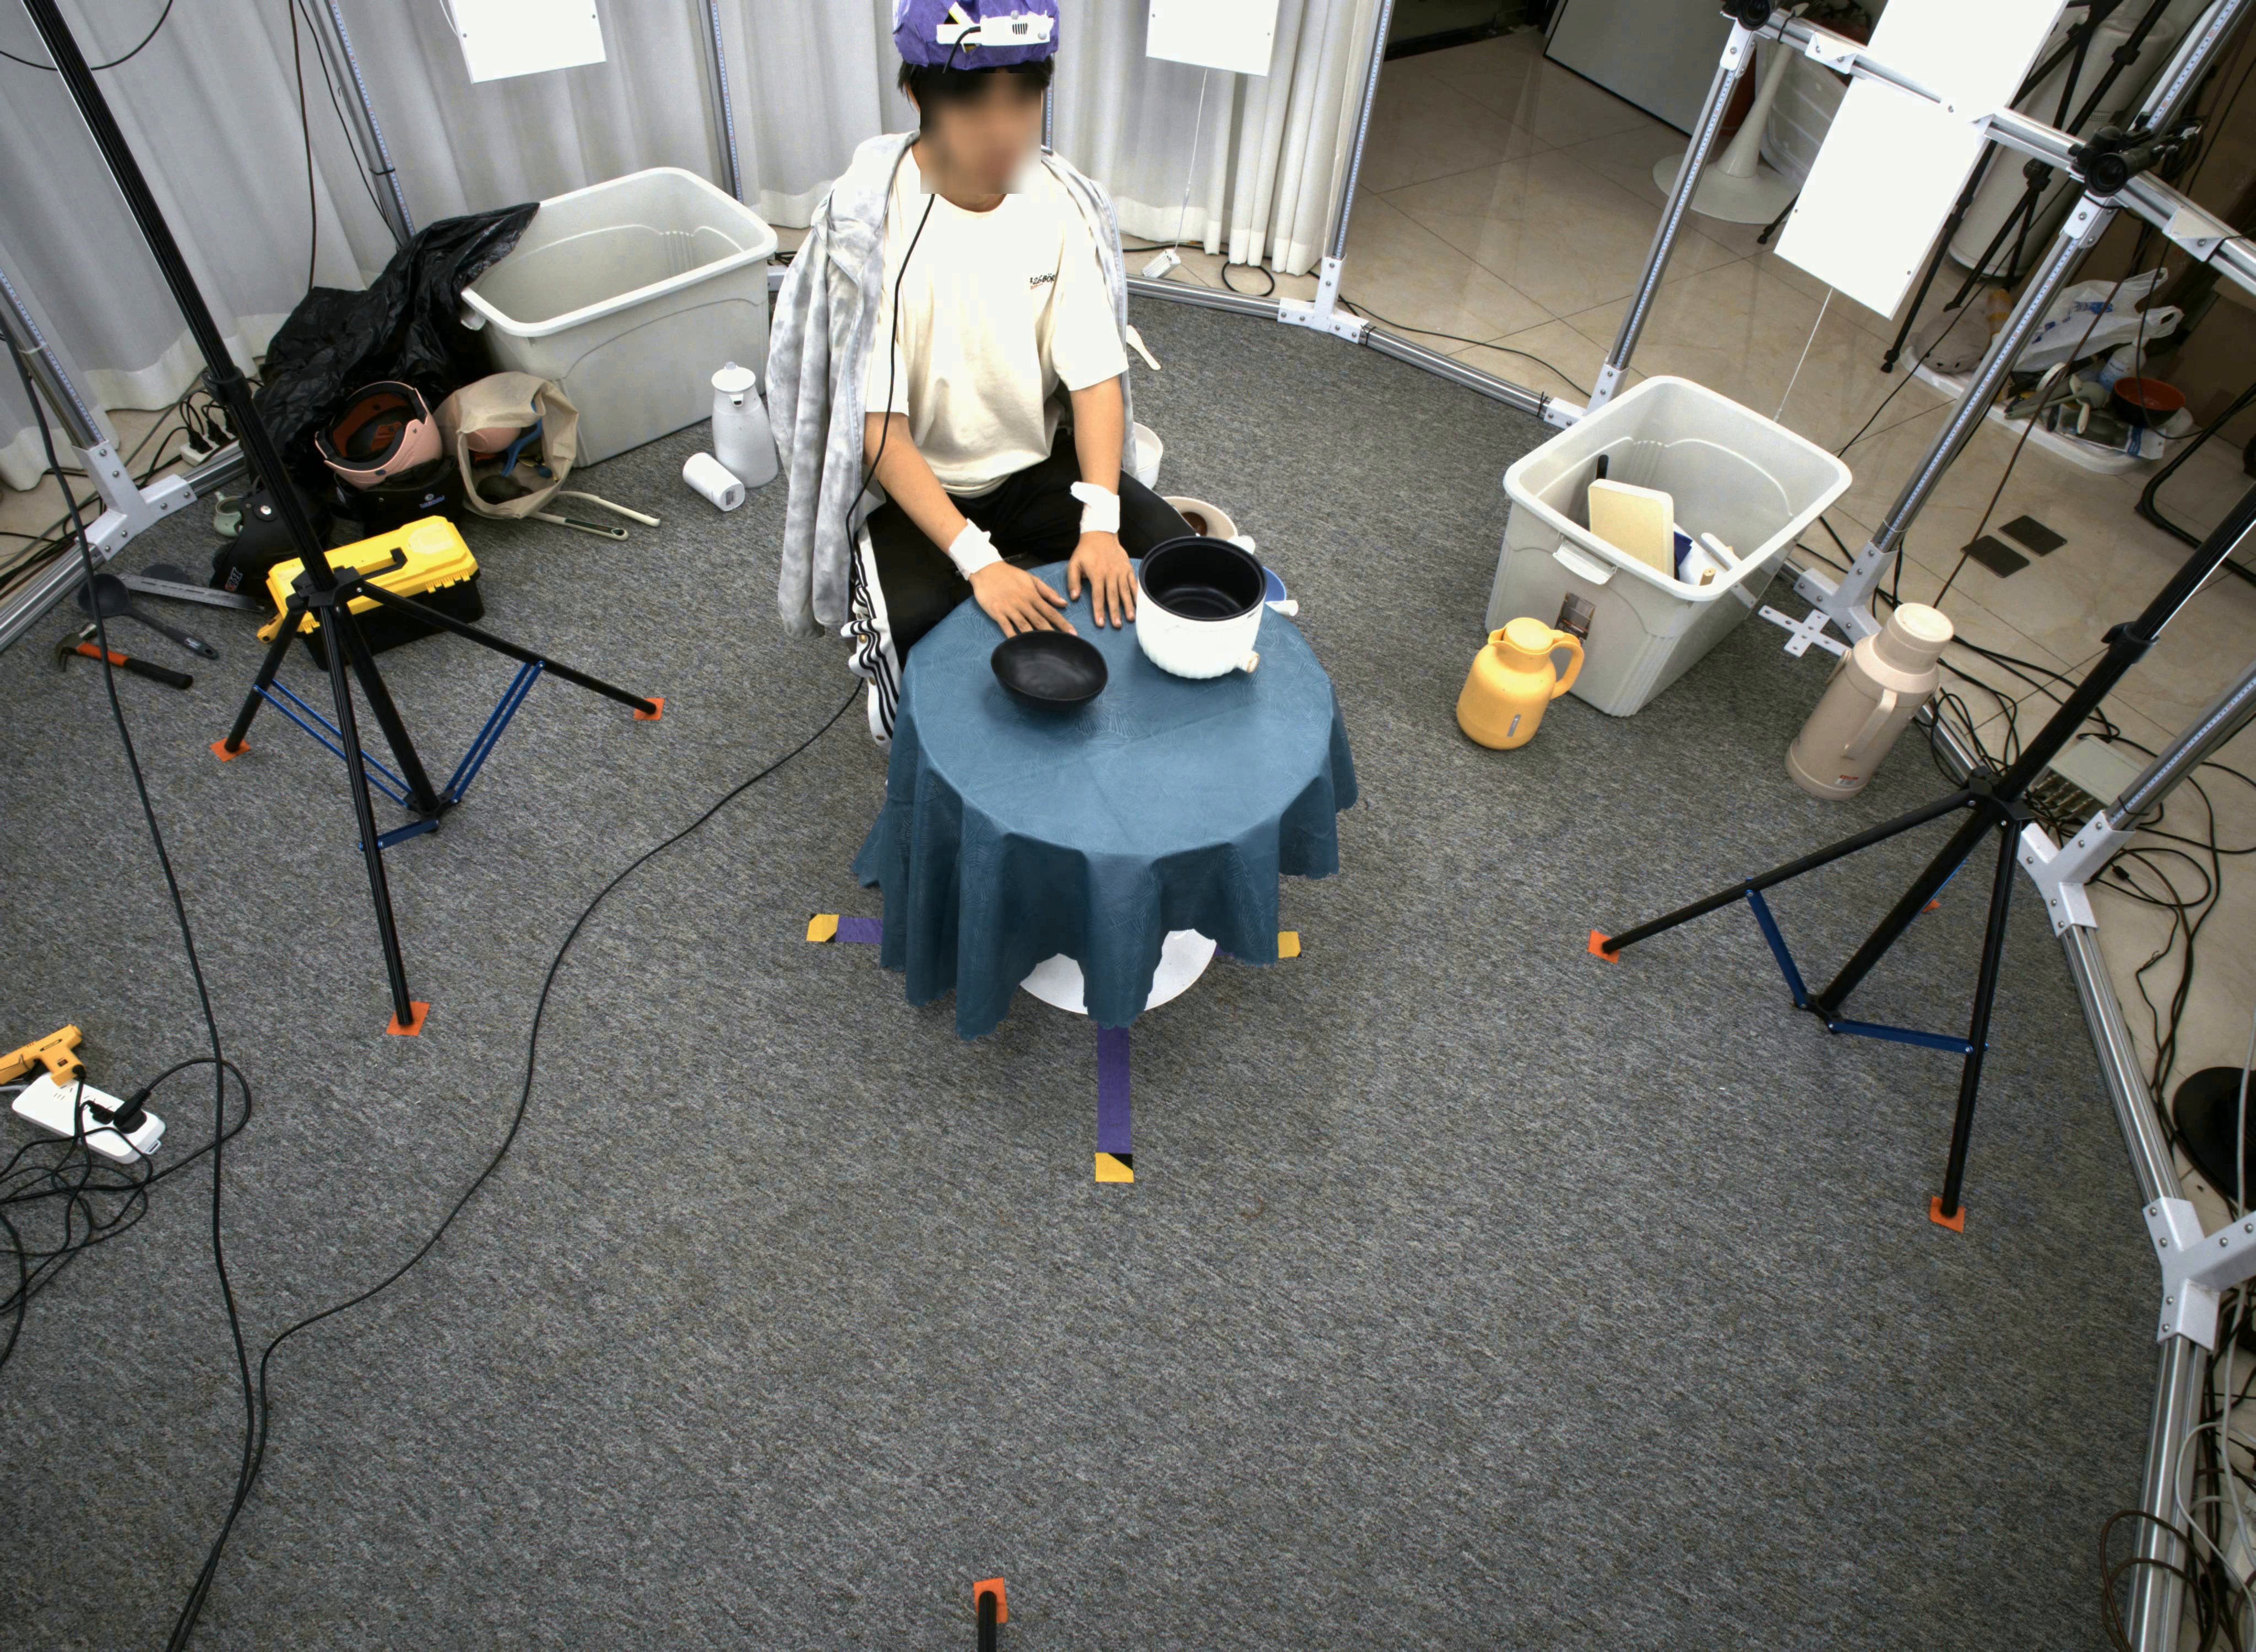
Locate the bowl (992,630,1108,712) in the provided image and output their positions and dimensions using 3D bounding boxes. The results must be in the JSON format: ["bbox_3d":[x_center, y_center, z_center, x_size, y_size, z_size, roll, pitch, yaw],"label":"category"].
[{"bbox_3d":[-0.111,-0.205,1.790,0.171,0.065,0.140,21,49,15],"label":"bowl"}]

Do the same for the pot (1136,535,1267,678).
[{"bbox_3d":[0.106,-0.306,1.845,0.192,0.139,0.243,27,53,23],"label":"pot"}]
